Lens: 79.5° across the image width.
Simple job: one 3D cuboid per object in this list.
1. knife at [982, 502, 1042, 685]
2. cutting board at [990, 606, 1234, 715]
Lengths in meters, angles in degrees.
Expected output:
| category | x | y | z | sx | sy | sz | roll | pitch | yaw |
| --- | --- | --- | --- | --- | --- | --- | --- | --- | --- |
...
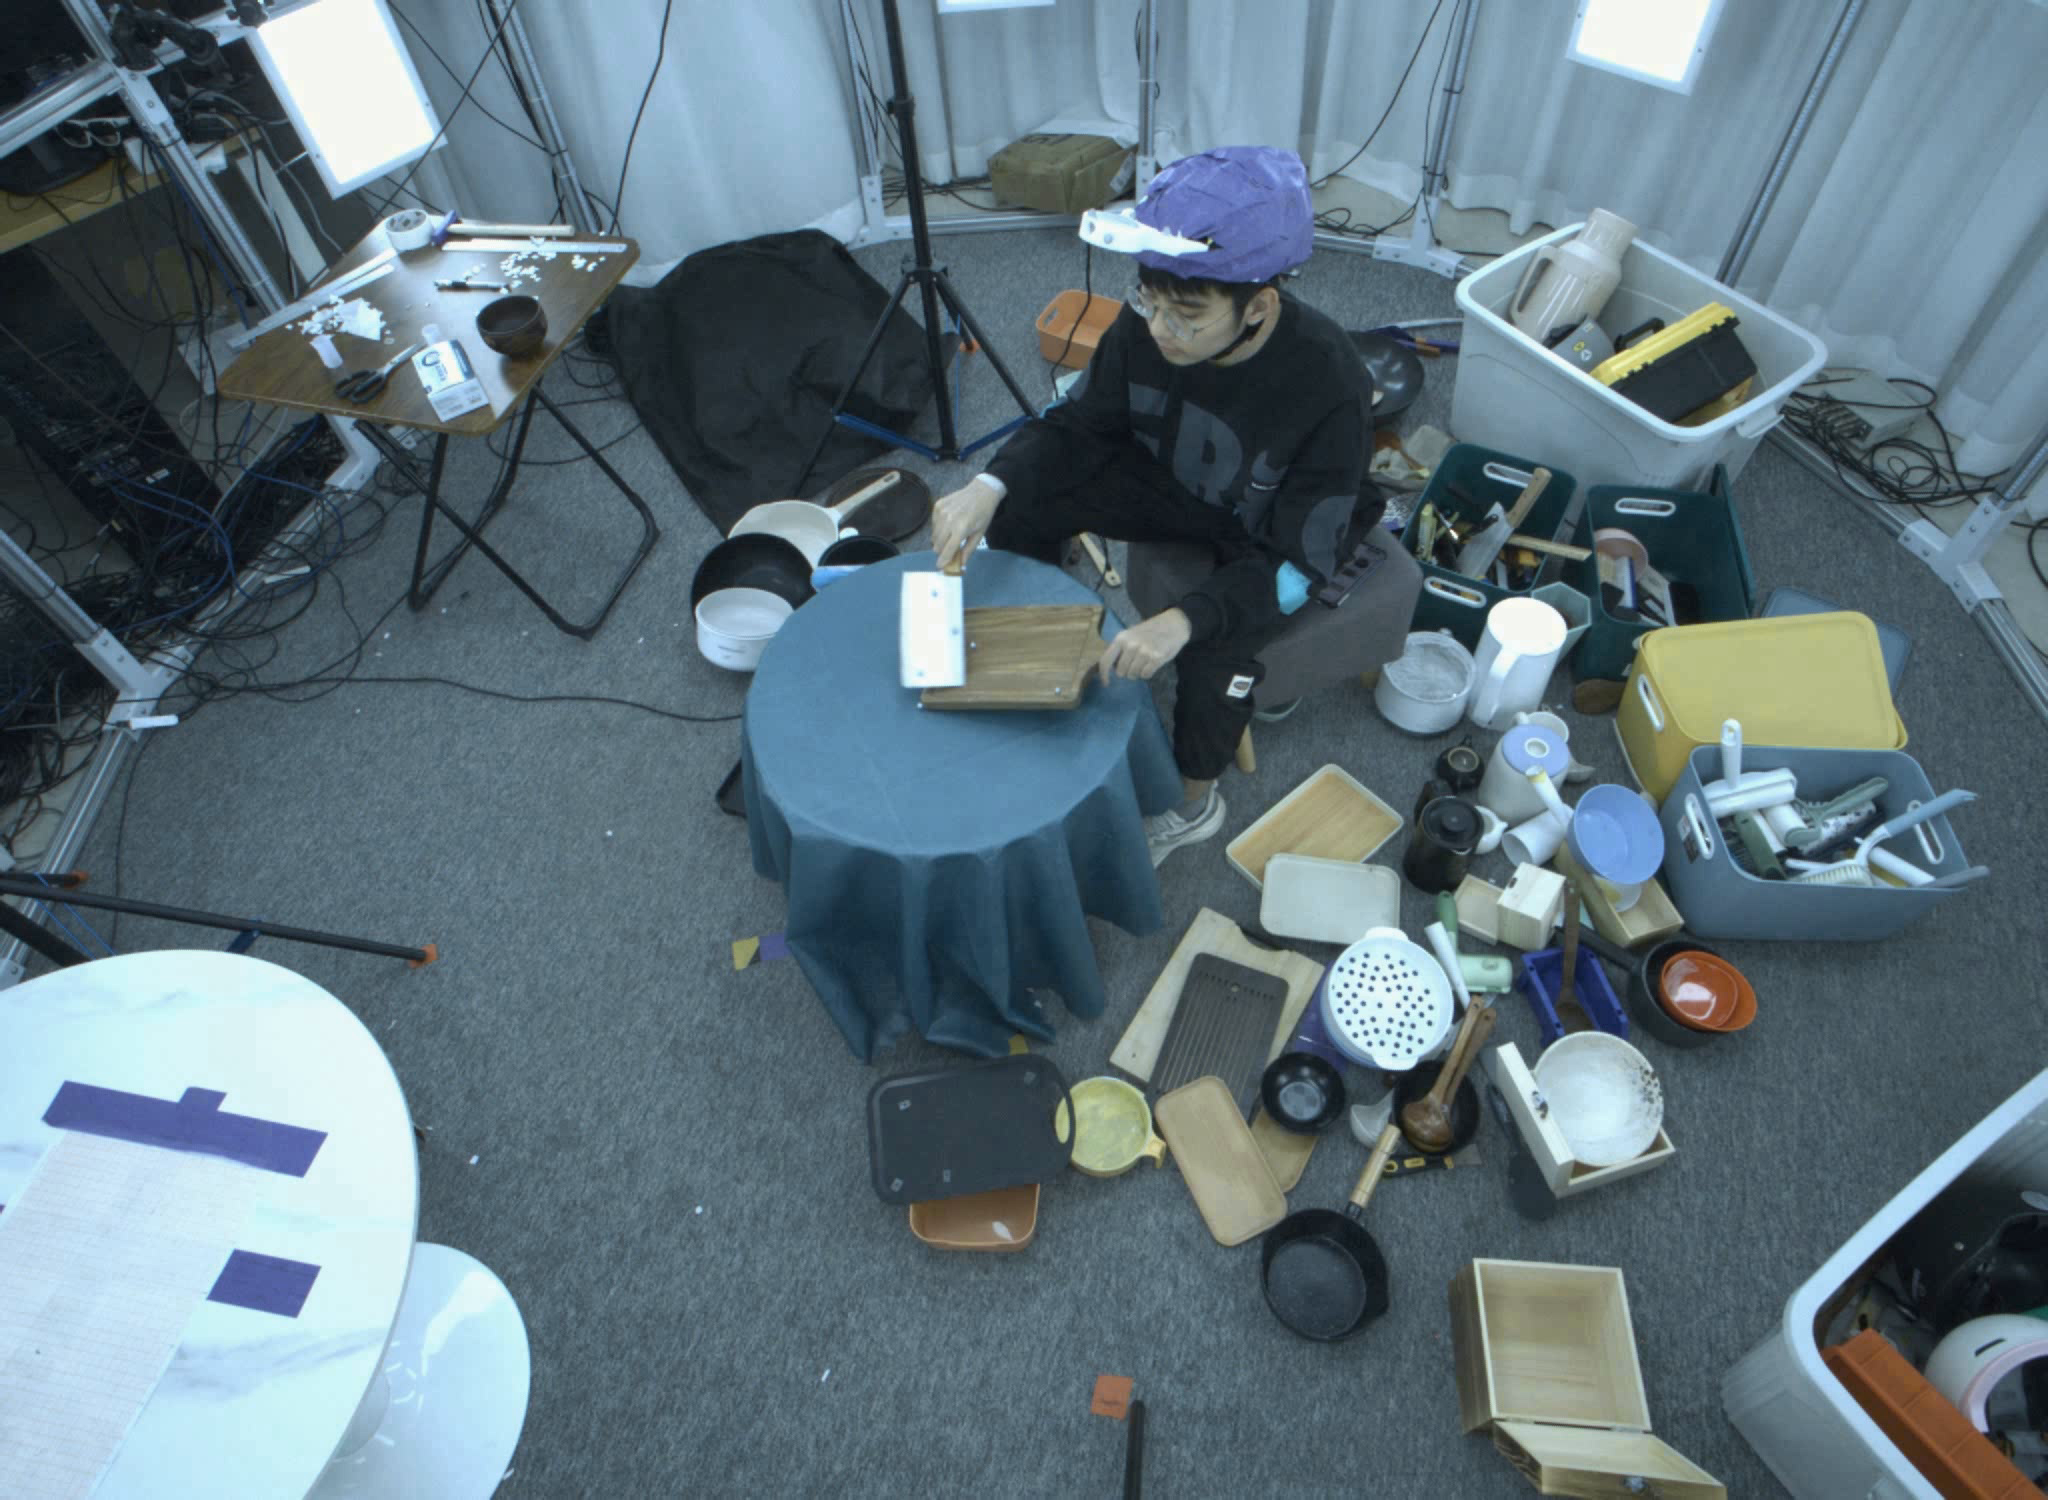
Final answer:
| category | x | y | z | sx | sy | sz | roll | pitch | yaw |
| --- | --- | --- | --- | --- | --- | --- | --- | --- | --- |
| knife | -0.019 | -0.240 | 1.864 | 0.093 | 0.021 | 0.303 | -1 | 72 | 2 |
| cutting board | 0.135 | -0.134 | 1.816 | 0.347 | 0.023 | 0.200 | 5 | 54 | 22 |
